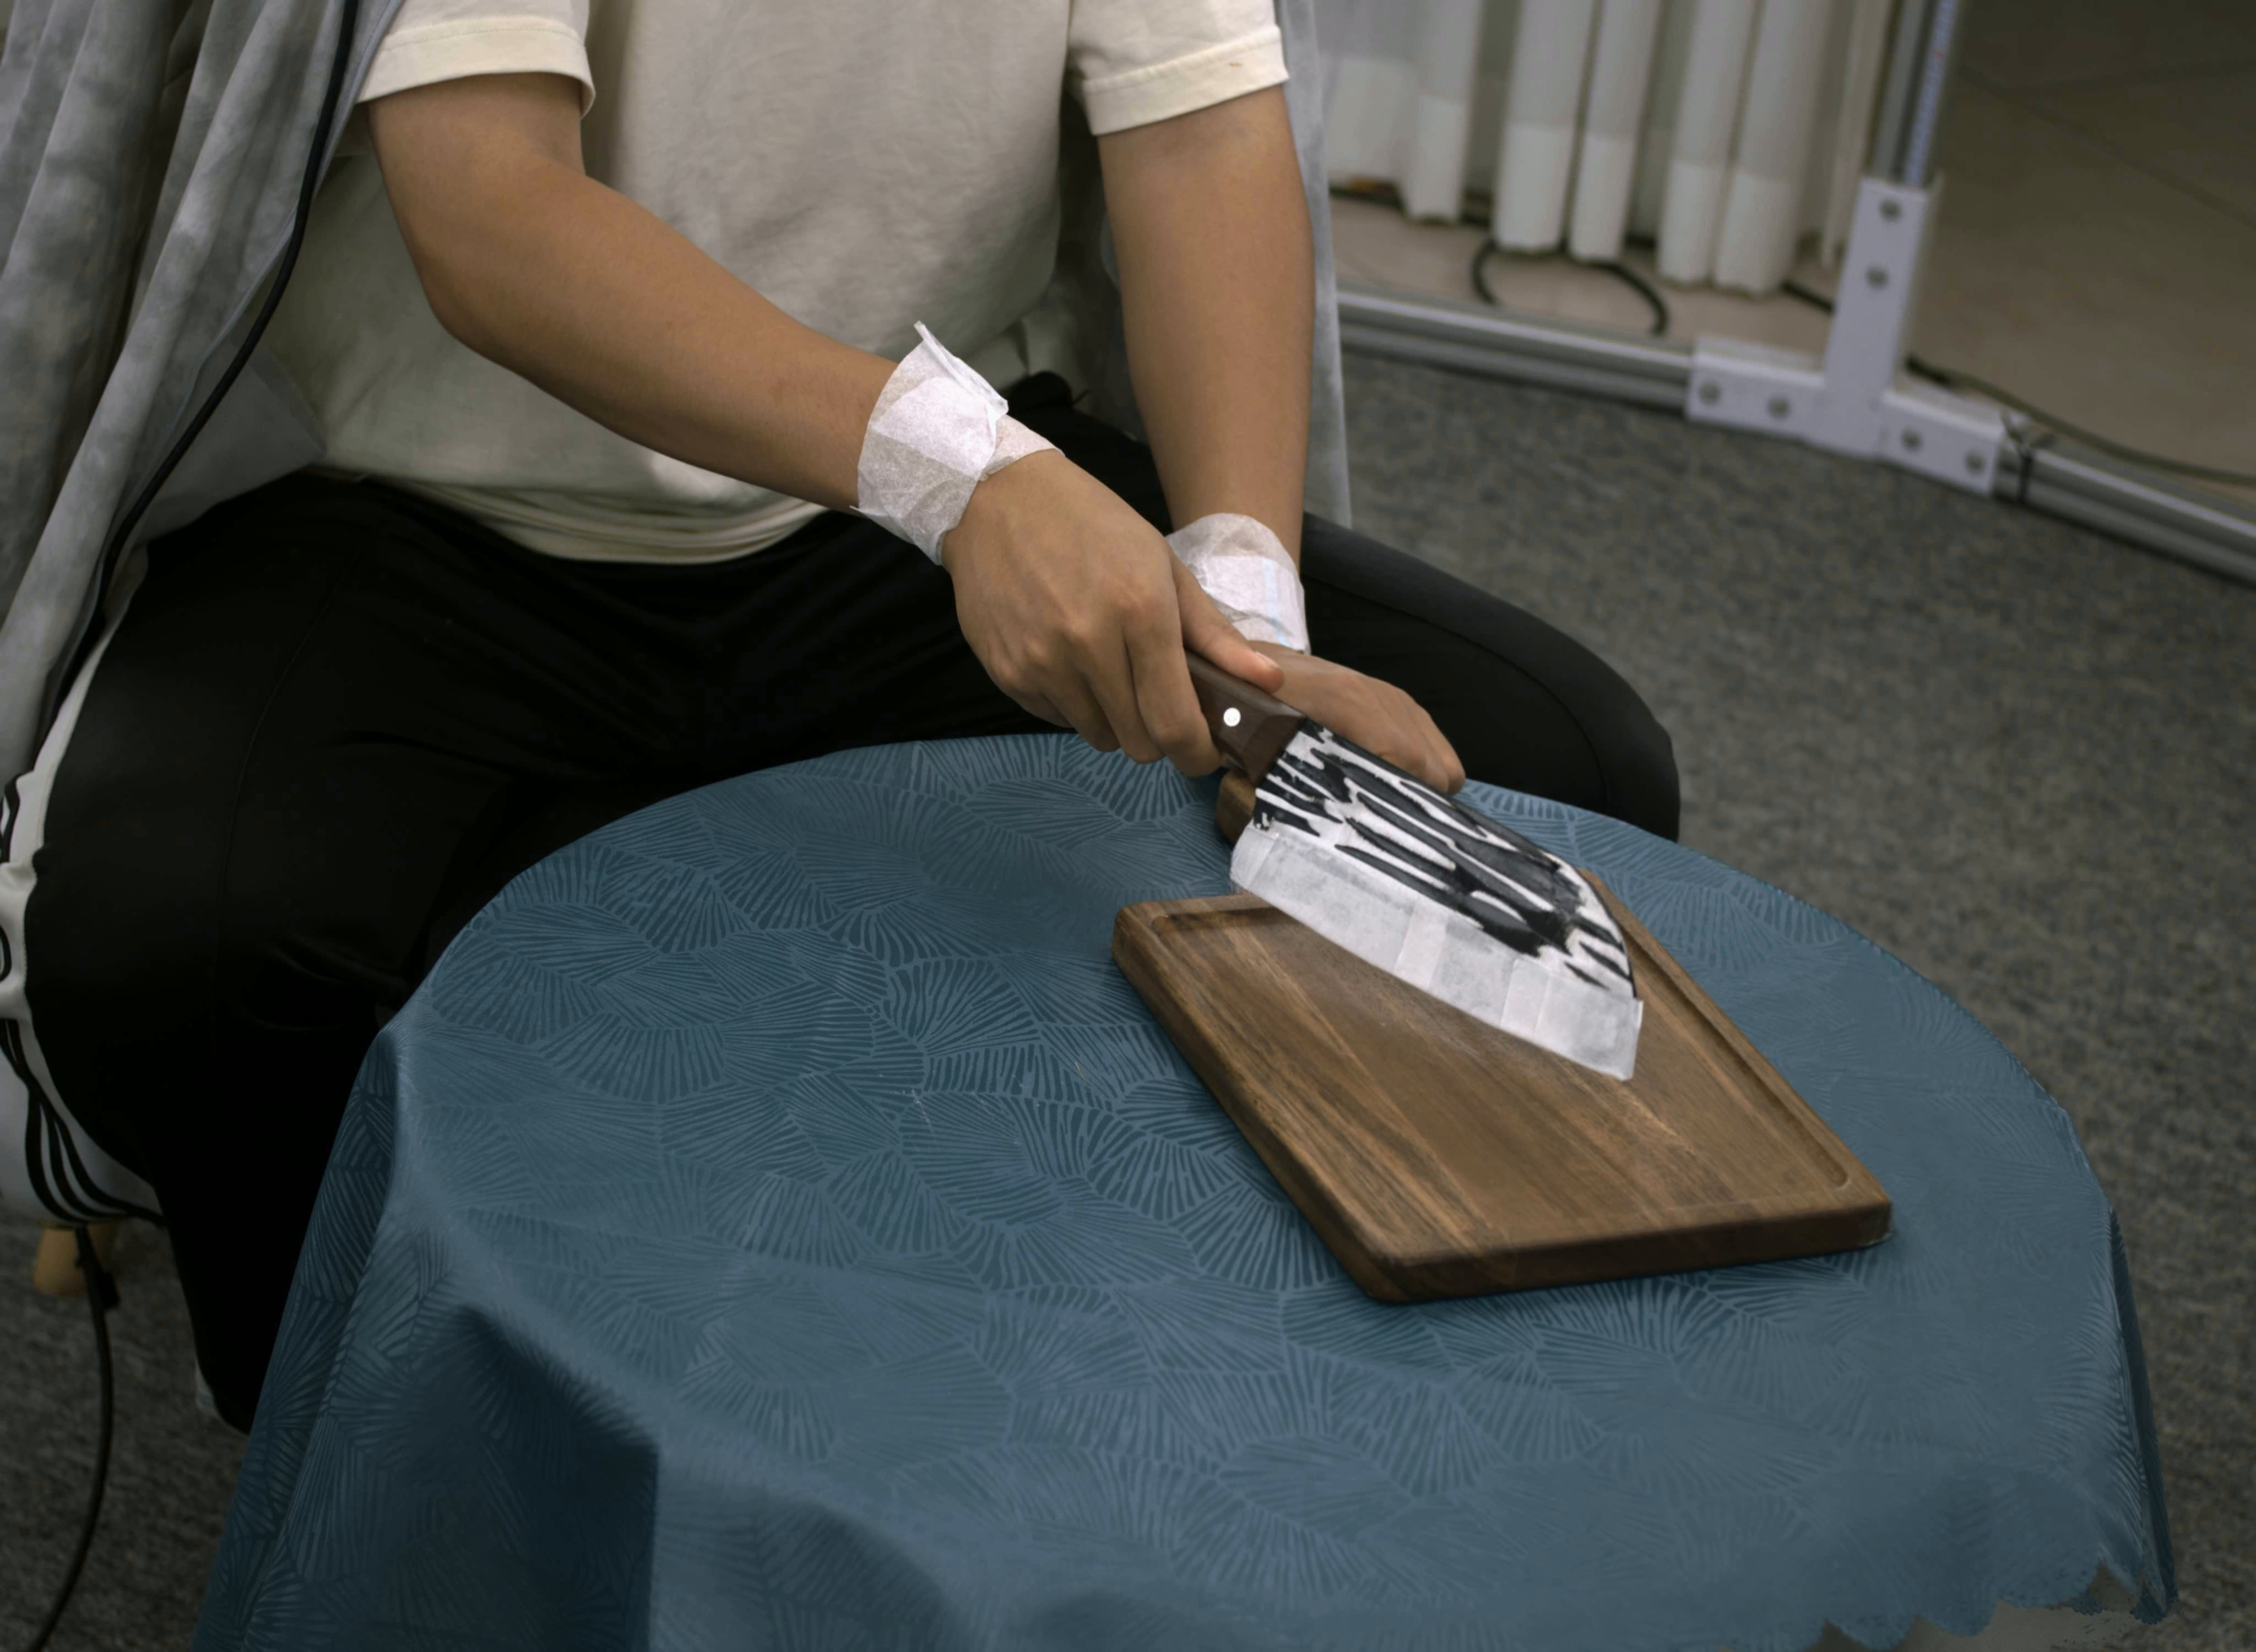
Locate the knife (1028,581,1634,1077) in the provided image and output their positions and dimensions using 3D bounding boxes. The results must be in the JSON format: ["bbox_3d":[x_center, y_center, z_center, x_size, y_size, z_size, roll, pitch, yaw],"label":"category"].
[{"bbox_3d":[0.069,0.000,1.930,0.301,0.068,0.024,31,10,28],"label":"knife"}]

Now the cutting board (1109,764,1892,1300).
[{"bbox_3d":[0.110,0.063,1.926,0.200,0.023,0.355,-5,28,-21],"label":"cutting board"}]
